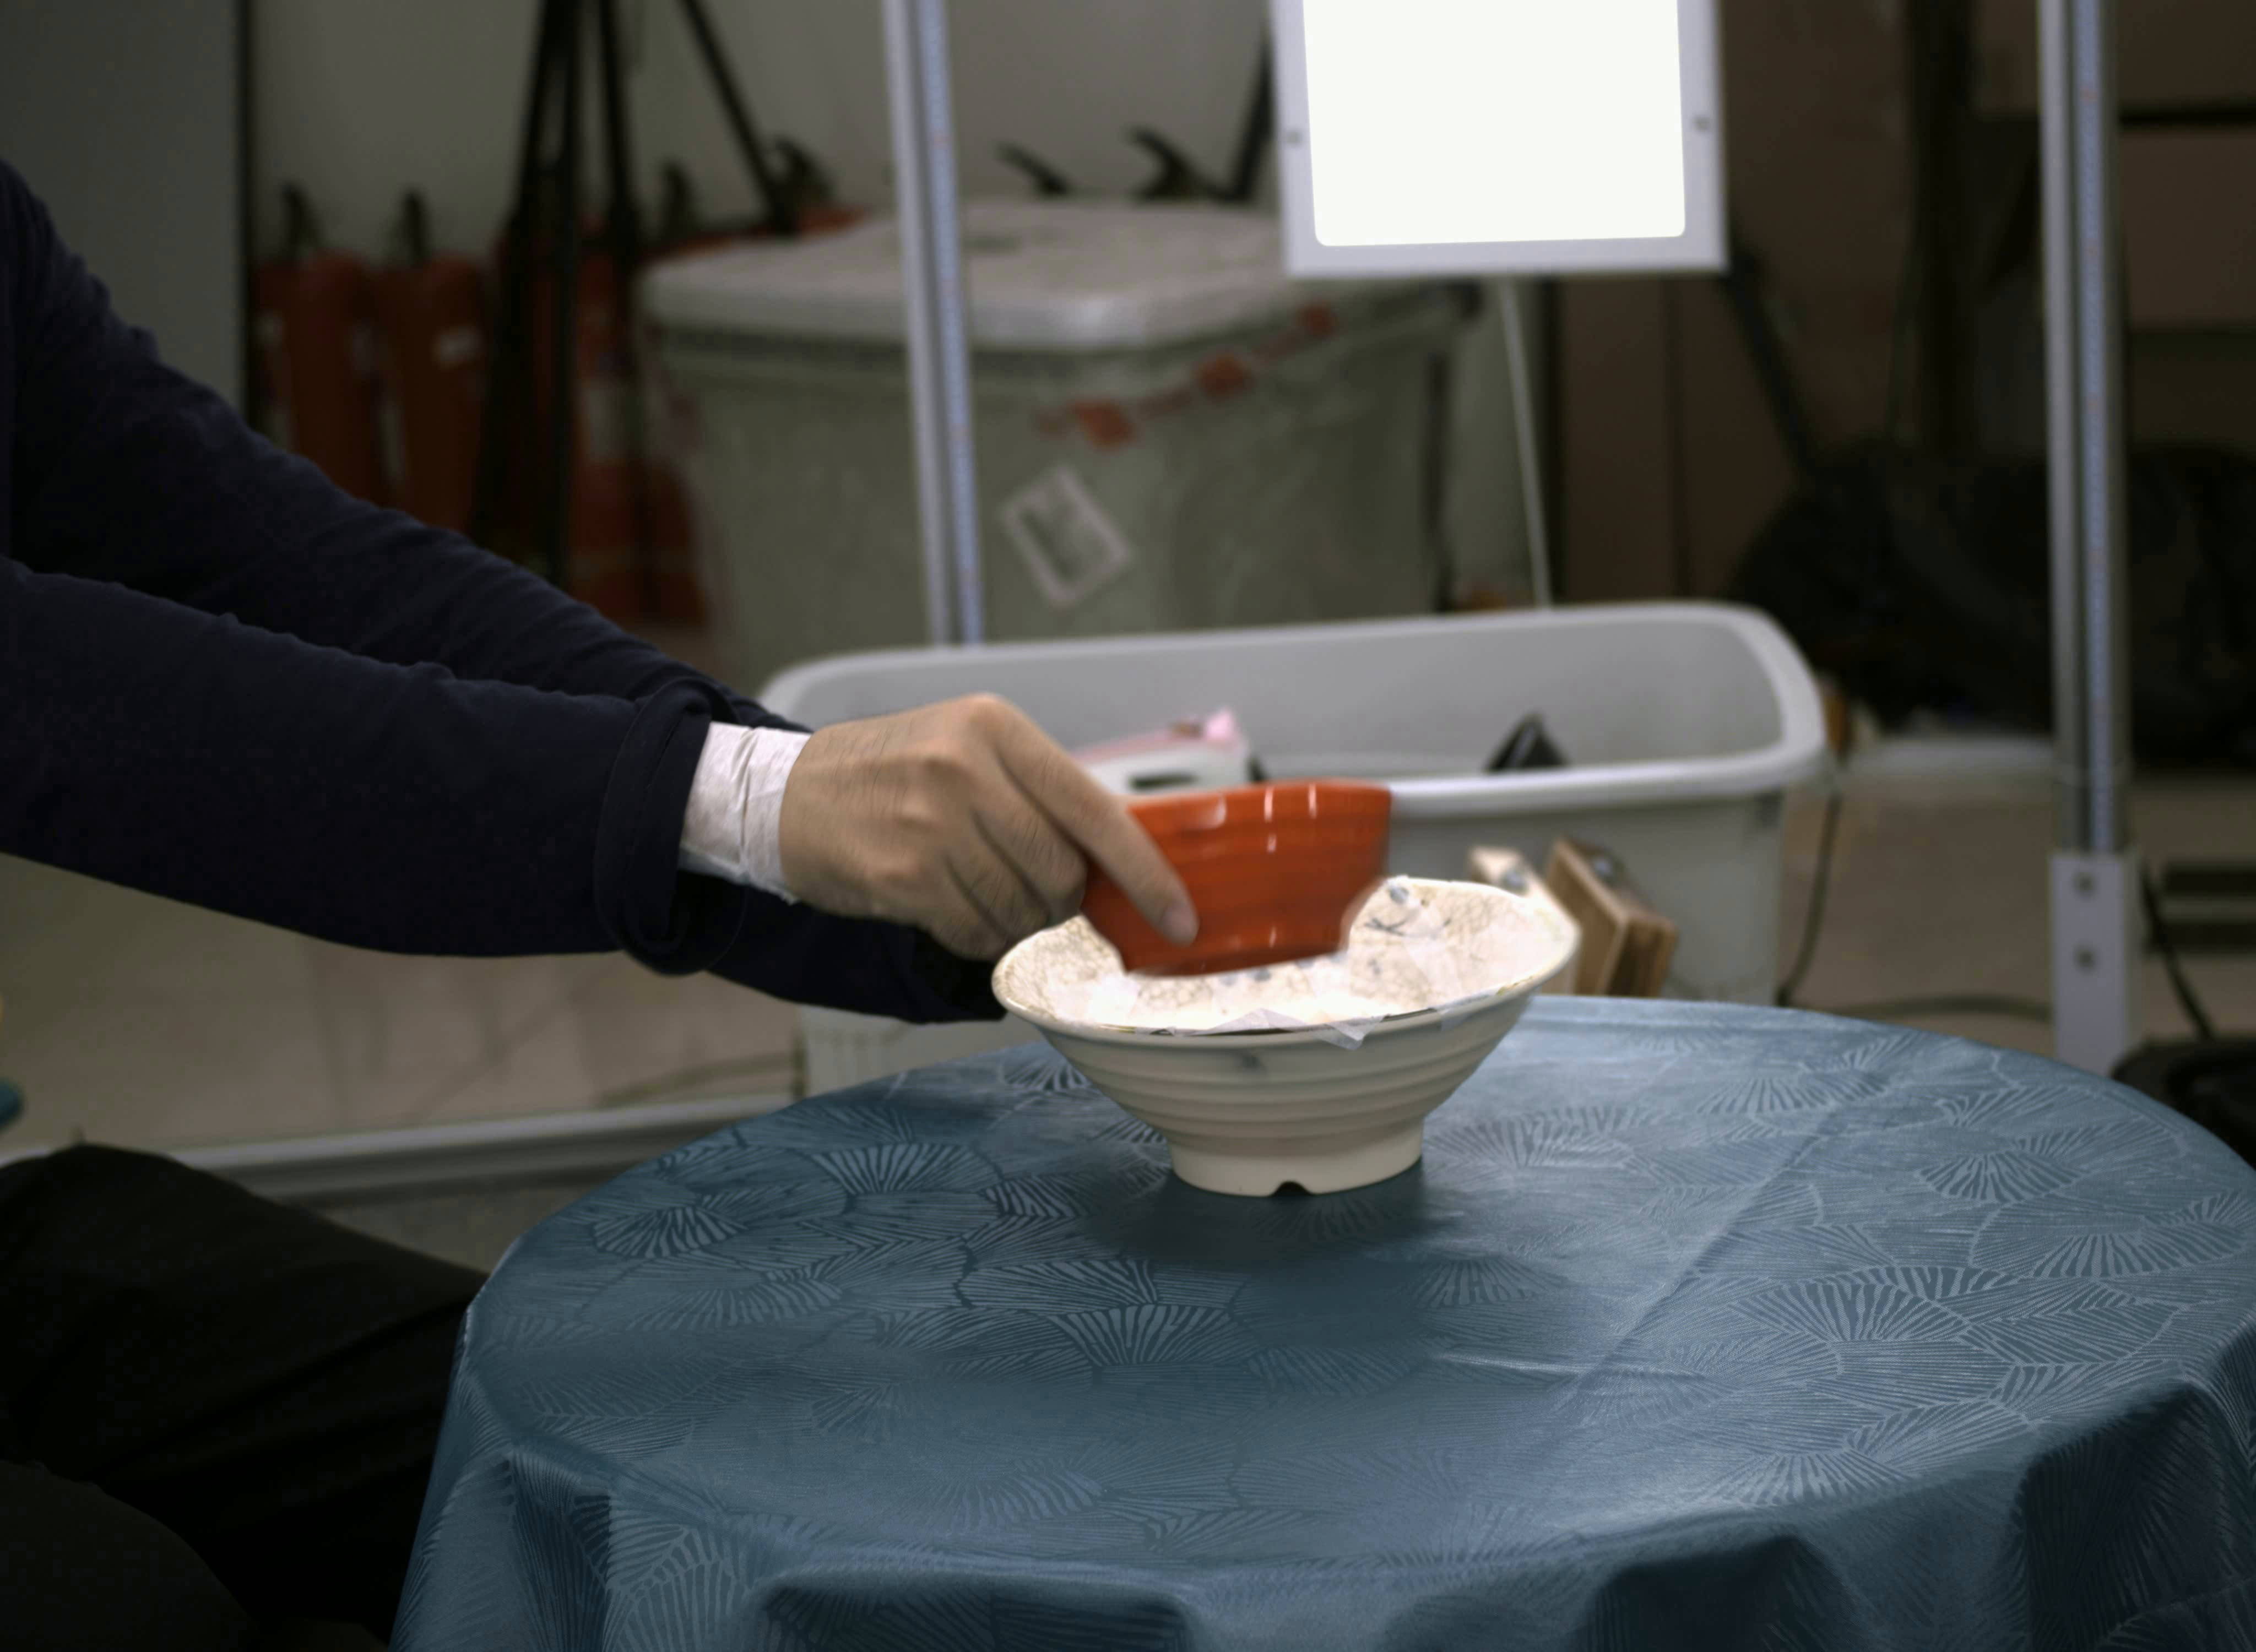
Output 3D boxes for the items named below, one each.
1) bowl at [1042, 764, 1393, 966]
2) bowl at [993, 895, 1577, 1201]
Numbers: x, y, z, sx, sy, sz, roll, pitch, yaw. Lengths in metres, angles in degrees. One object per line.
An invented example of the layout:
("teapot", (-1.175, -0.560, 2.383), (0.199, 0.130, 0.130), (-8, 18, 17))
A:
("bowl", (0.032, 0.015, 1.777), (0.118, 0.051, 0.119), (-7, -6, -2))
("bowl", (0.058, 0.082, 1.908), (0.203, 0.078, 0.204), (-6, 10, 0))
